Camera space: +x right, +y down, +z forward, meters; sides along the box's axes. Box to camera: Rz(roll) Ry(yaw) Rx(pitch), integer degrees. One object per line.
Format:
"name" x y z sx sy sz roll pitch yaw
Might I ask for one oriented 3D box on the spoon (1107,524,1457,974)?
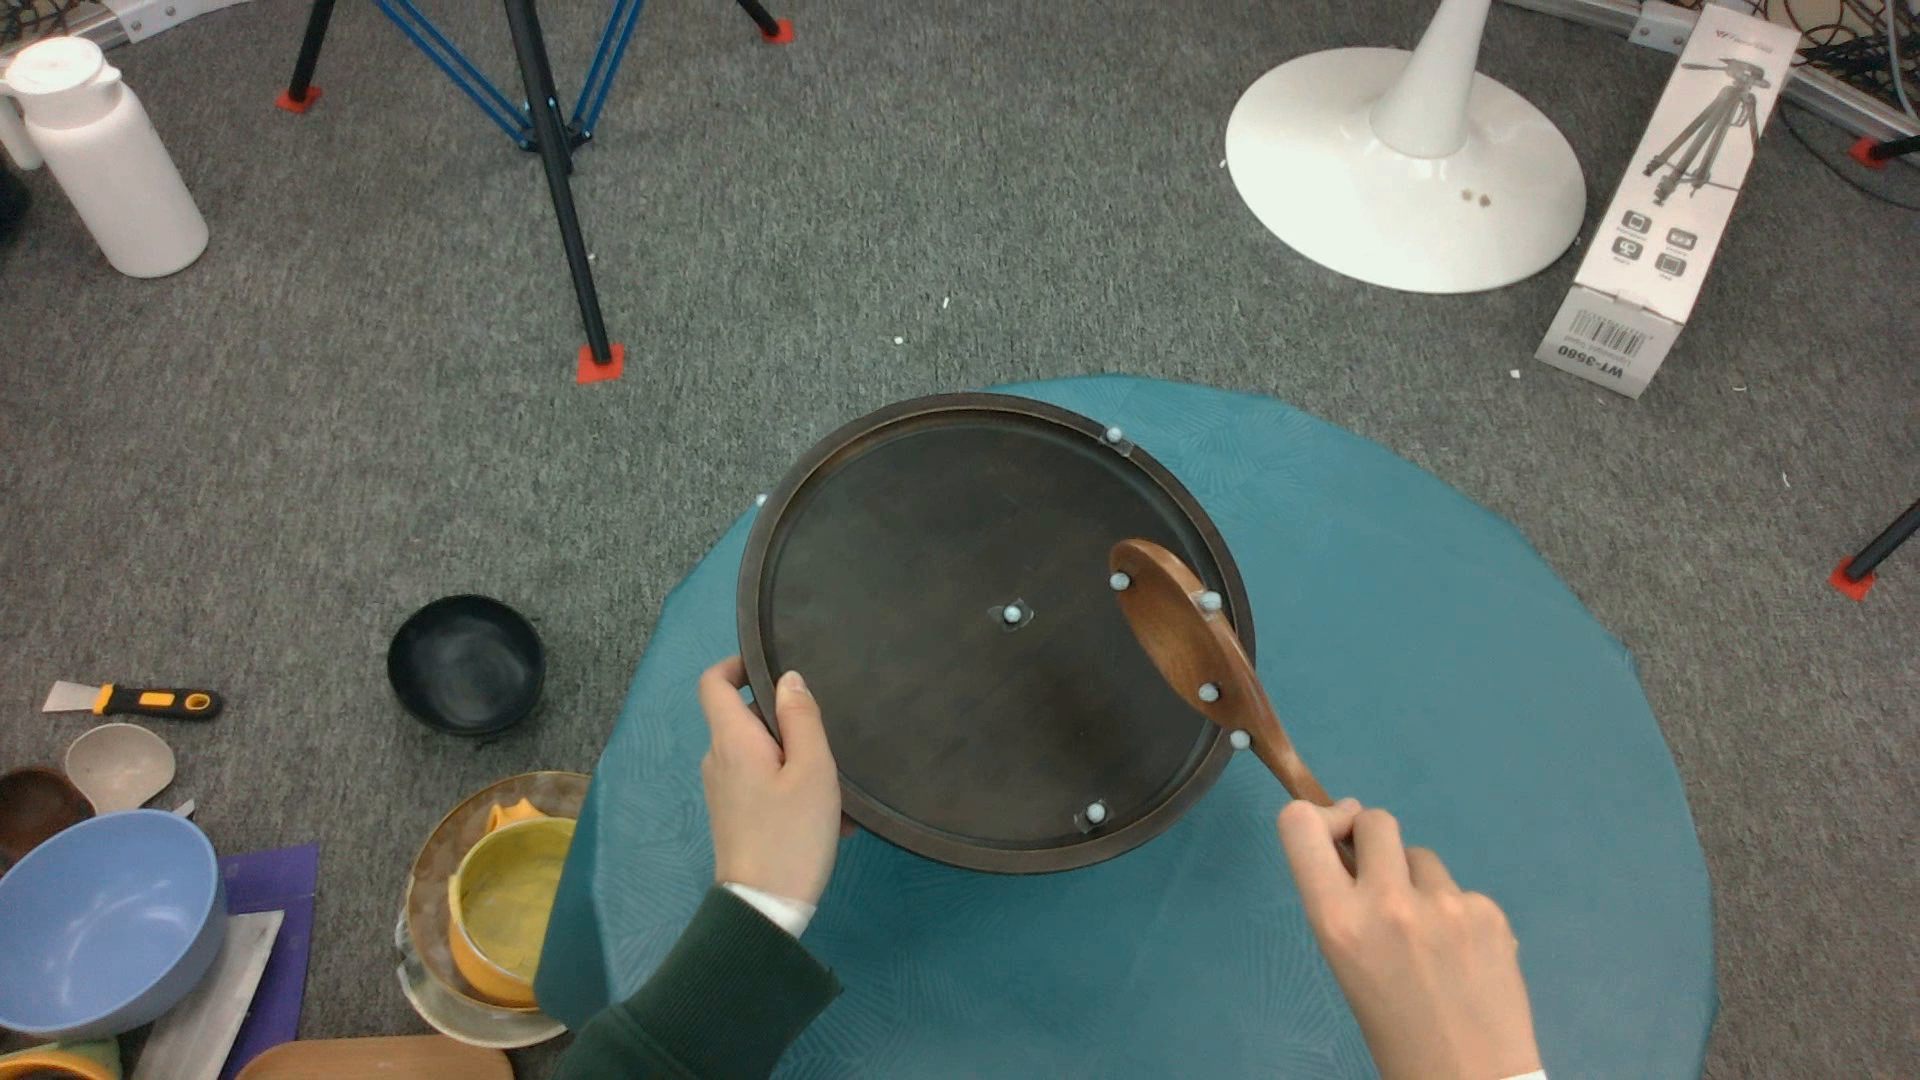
"spoon" 0.127 0.079 0.559 0.017 0.075 0.216 -26 67 -20

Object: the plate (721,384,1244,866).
"plate" 0.013 0.034 0.662 0.255 0.029 0.256 6 58 -9
